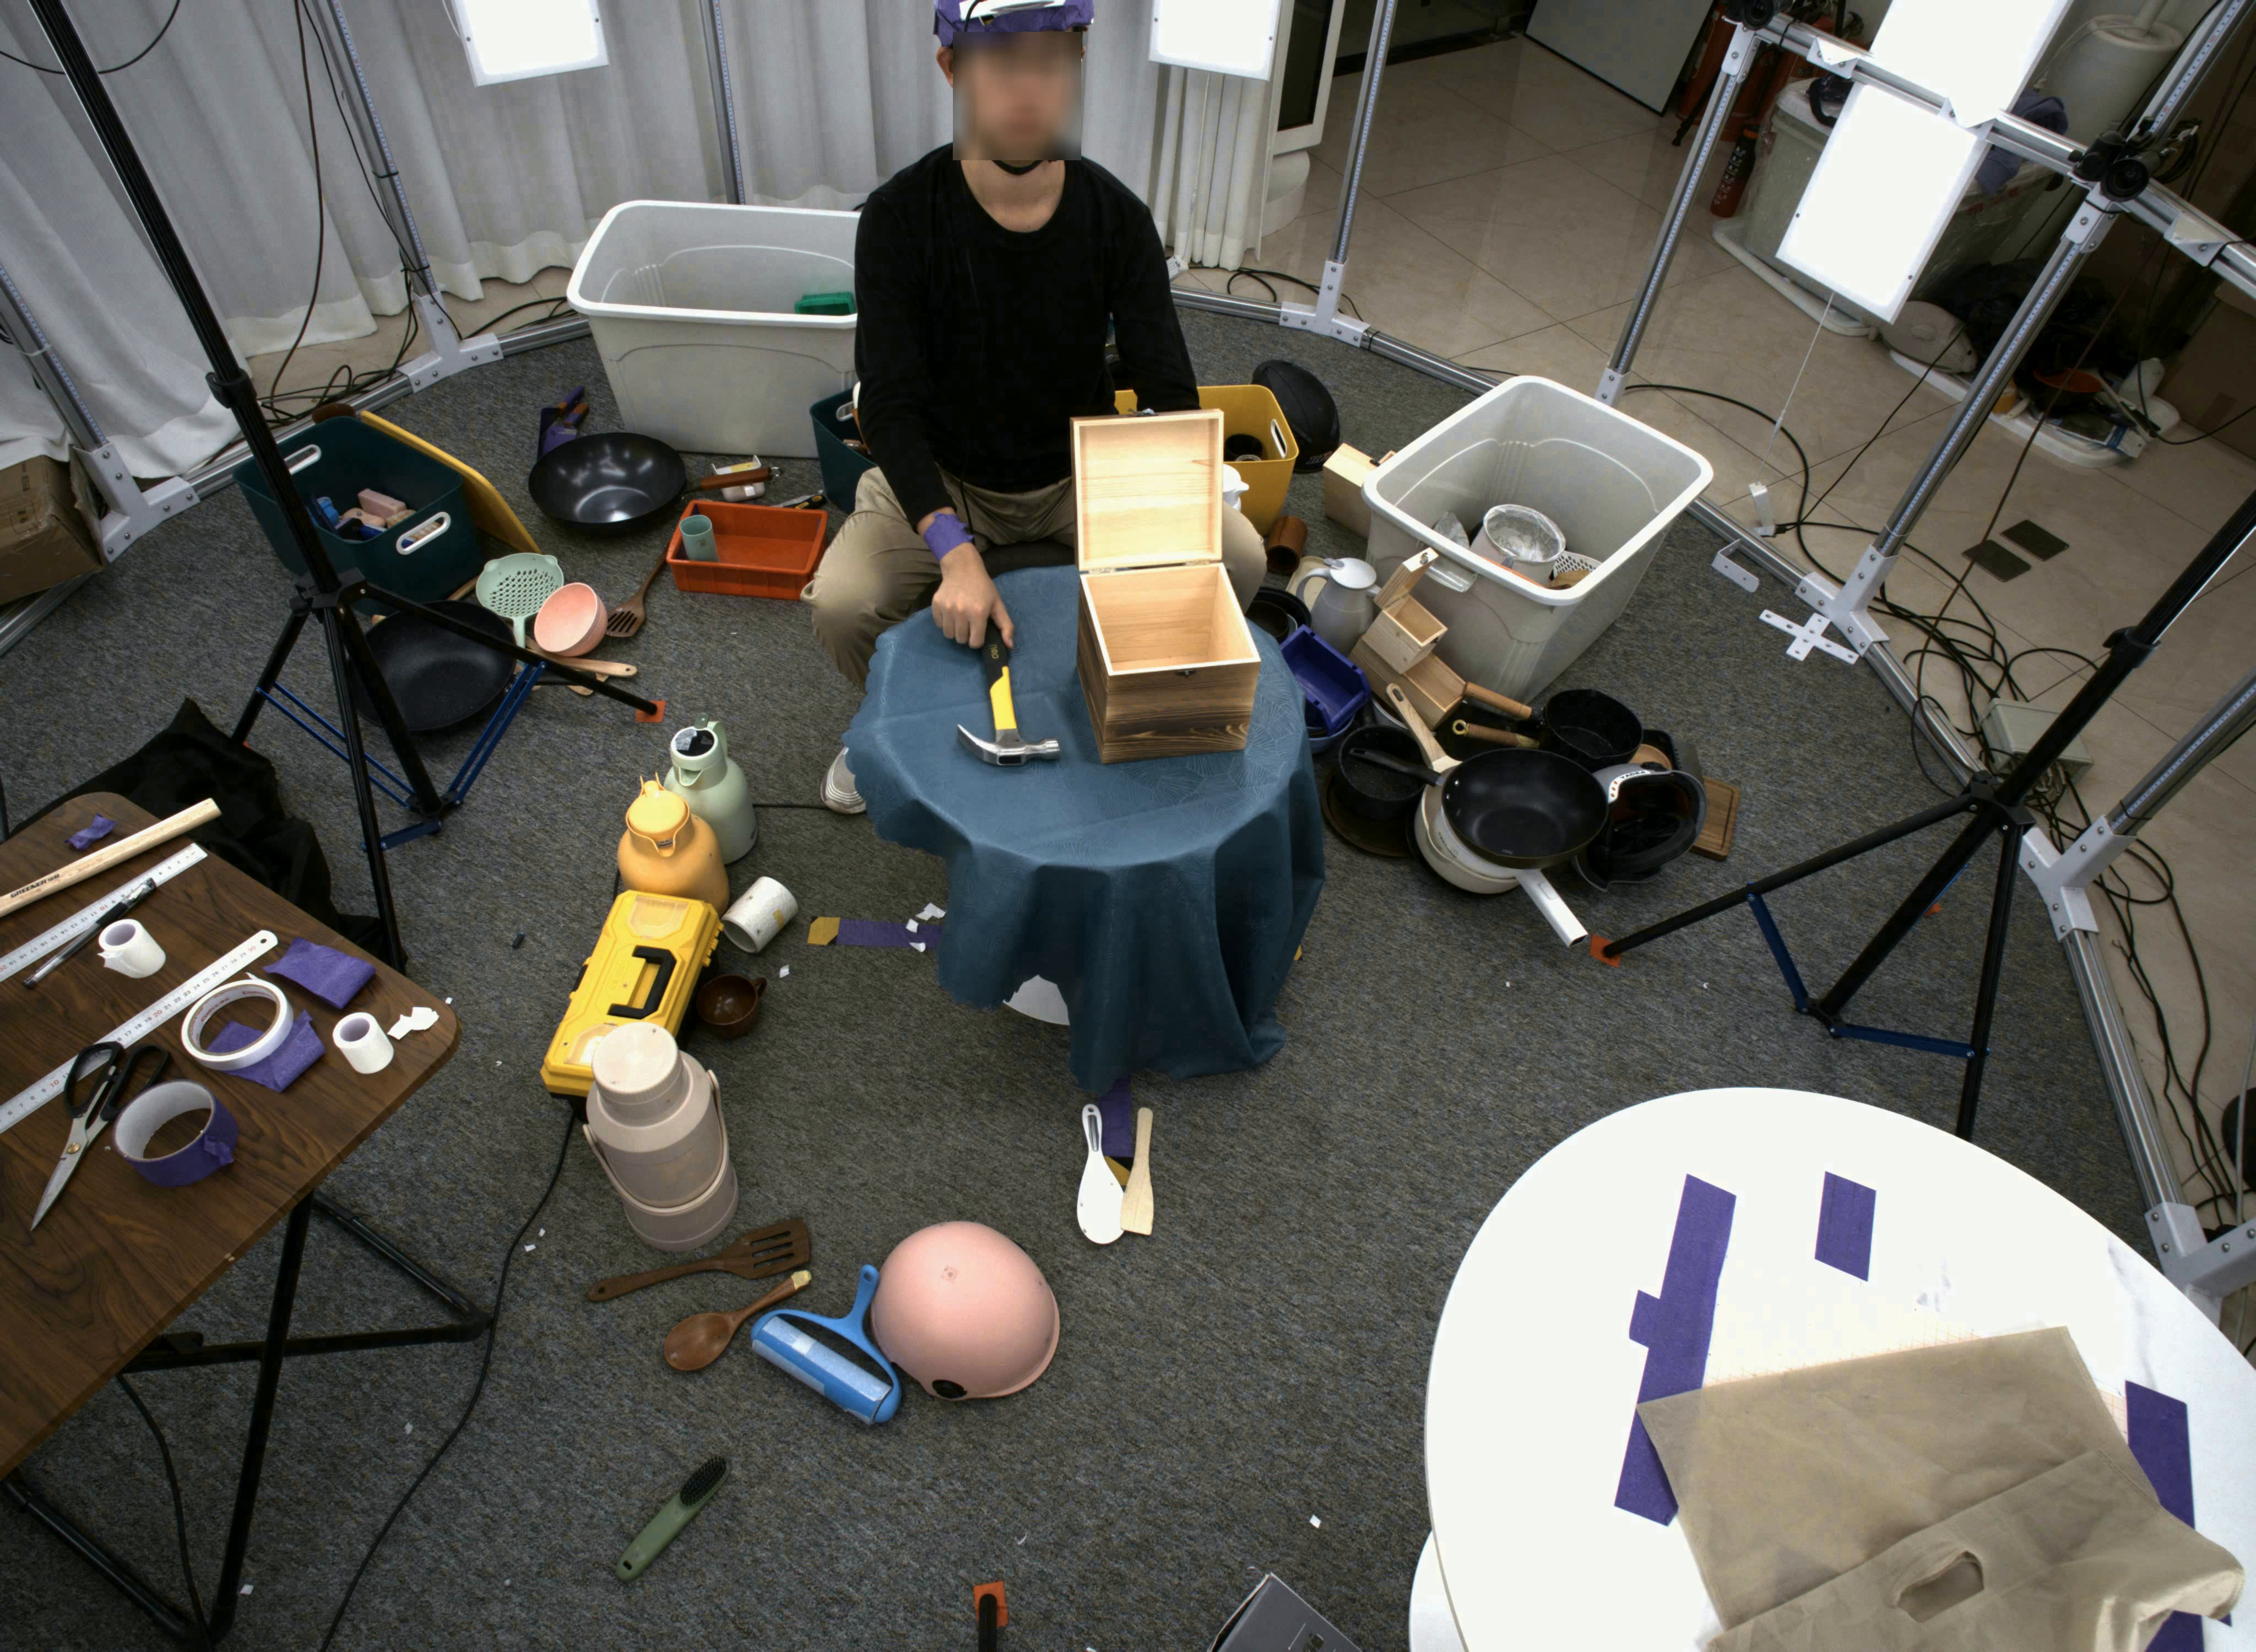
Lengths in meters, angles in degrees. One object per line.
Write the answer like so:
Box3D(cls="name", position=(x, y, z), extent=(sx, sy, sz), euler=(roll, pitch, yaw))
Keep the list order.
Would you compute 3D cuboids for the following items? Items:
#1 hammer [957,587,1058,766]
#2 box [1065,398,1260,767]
Box3D(cls="hammer", position=(-0.184, -0.220, 1.825), extent=(0.131, 0.031, 0.347), euler=(-4, 51, -8))
Box3D(cls="box", position=(0.041, -0.322, 1.722), extent=(0.208, 0.366, 0.330), euler=(-7, 49, -9))
